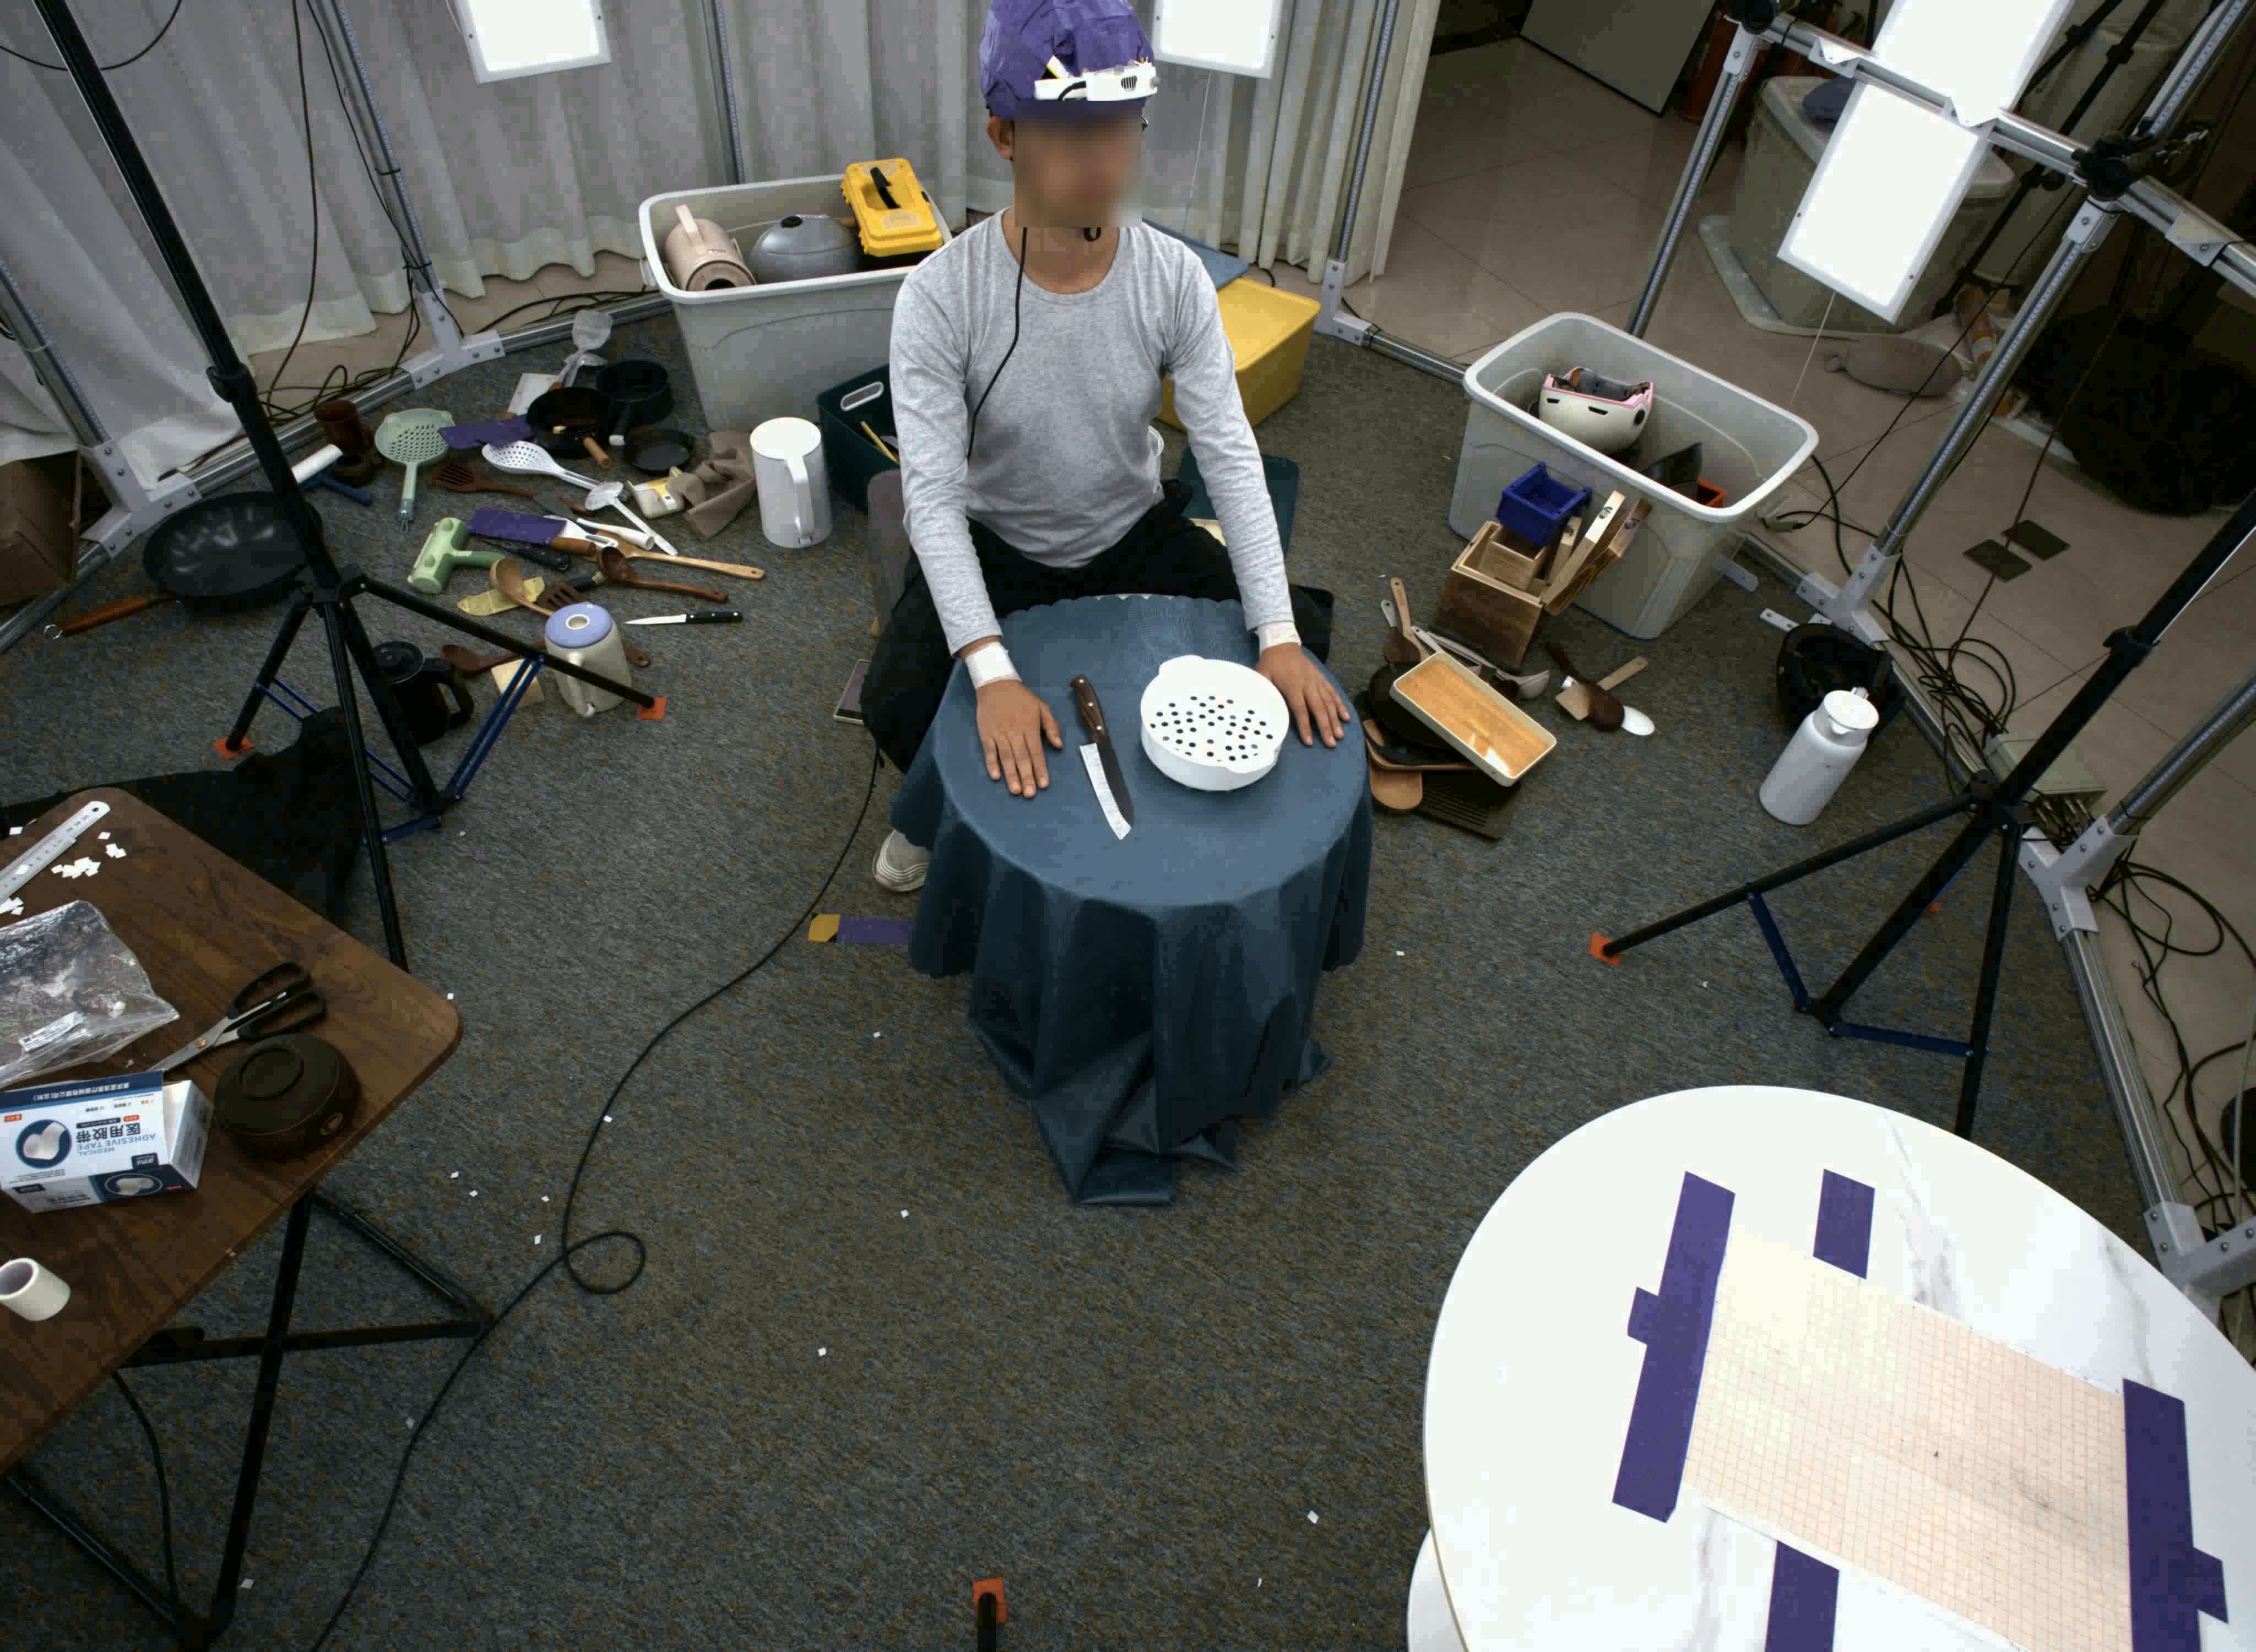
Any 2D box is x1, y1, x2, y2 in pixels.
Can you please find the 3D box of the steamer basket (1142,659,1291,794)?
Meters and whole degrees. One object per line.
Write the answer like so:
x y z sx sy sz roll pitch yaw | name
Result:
0.118 -0.133 1.748 0.202 0.067 0.236 -18 52 -19 | steamer basket

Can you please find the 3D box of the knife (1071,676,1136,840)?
-0.037 -0.096 1.739 0.050 0.019 0.296 -11 53 -6 | knife
